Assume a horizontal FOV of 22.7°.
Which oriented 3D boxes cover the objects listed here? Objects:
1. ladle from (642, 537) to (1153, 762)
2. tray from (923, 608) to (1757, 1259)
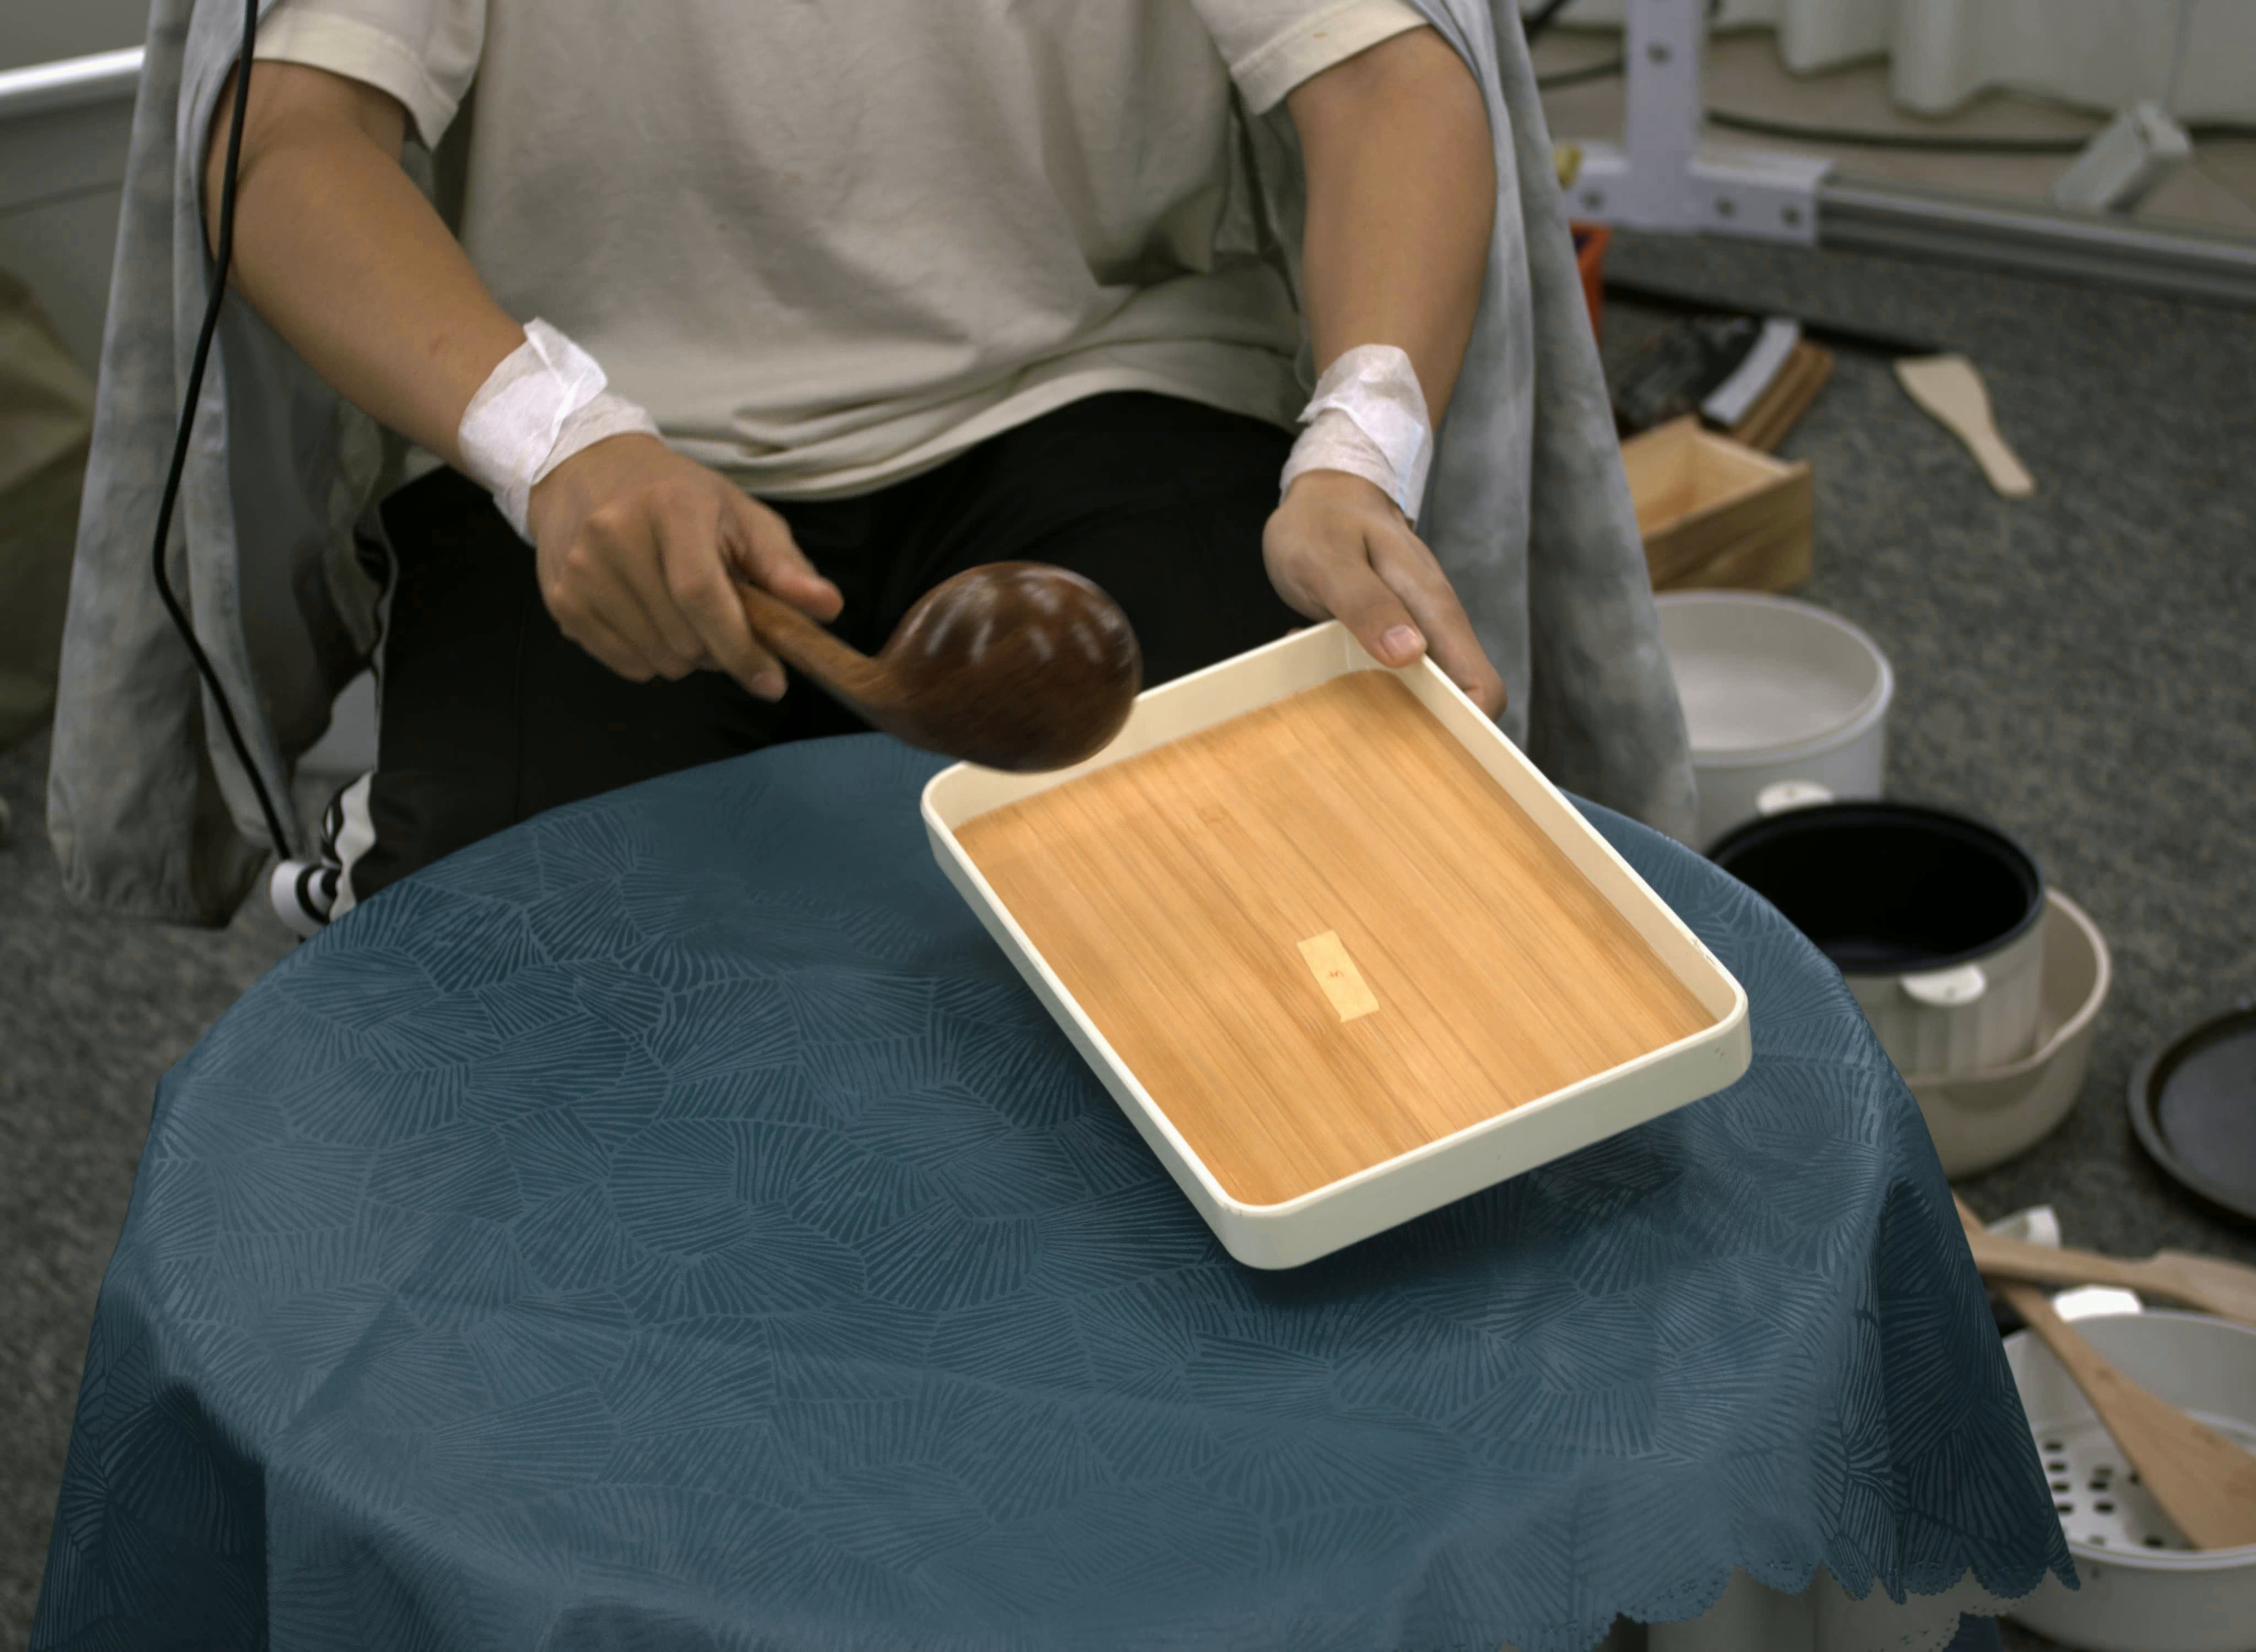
[{"bbox_3d":[-0.083,-0.078,1.944,0.077,0.081,0.274,-36,27,-17],"label":"ladle"},{"bbox_3d":[0.066,0.030,1.912,0.192,0.027,0.303,-21,35,-14],"label":"tray"}]
